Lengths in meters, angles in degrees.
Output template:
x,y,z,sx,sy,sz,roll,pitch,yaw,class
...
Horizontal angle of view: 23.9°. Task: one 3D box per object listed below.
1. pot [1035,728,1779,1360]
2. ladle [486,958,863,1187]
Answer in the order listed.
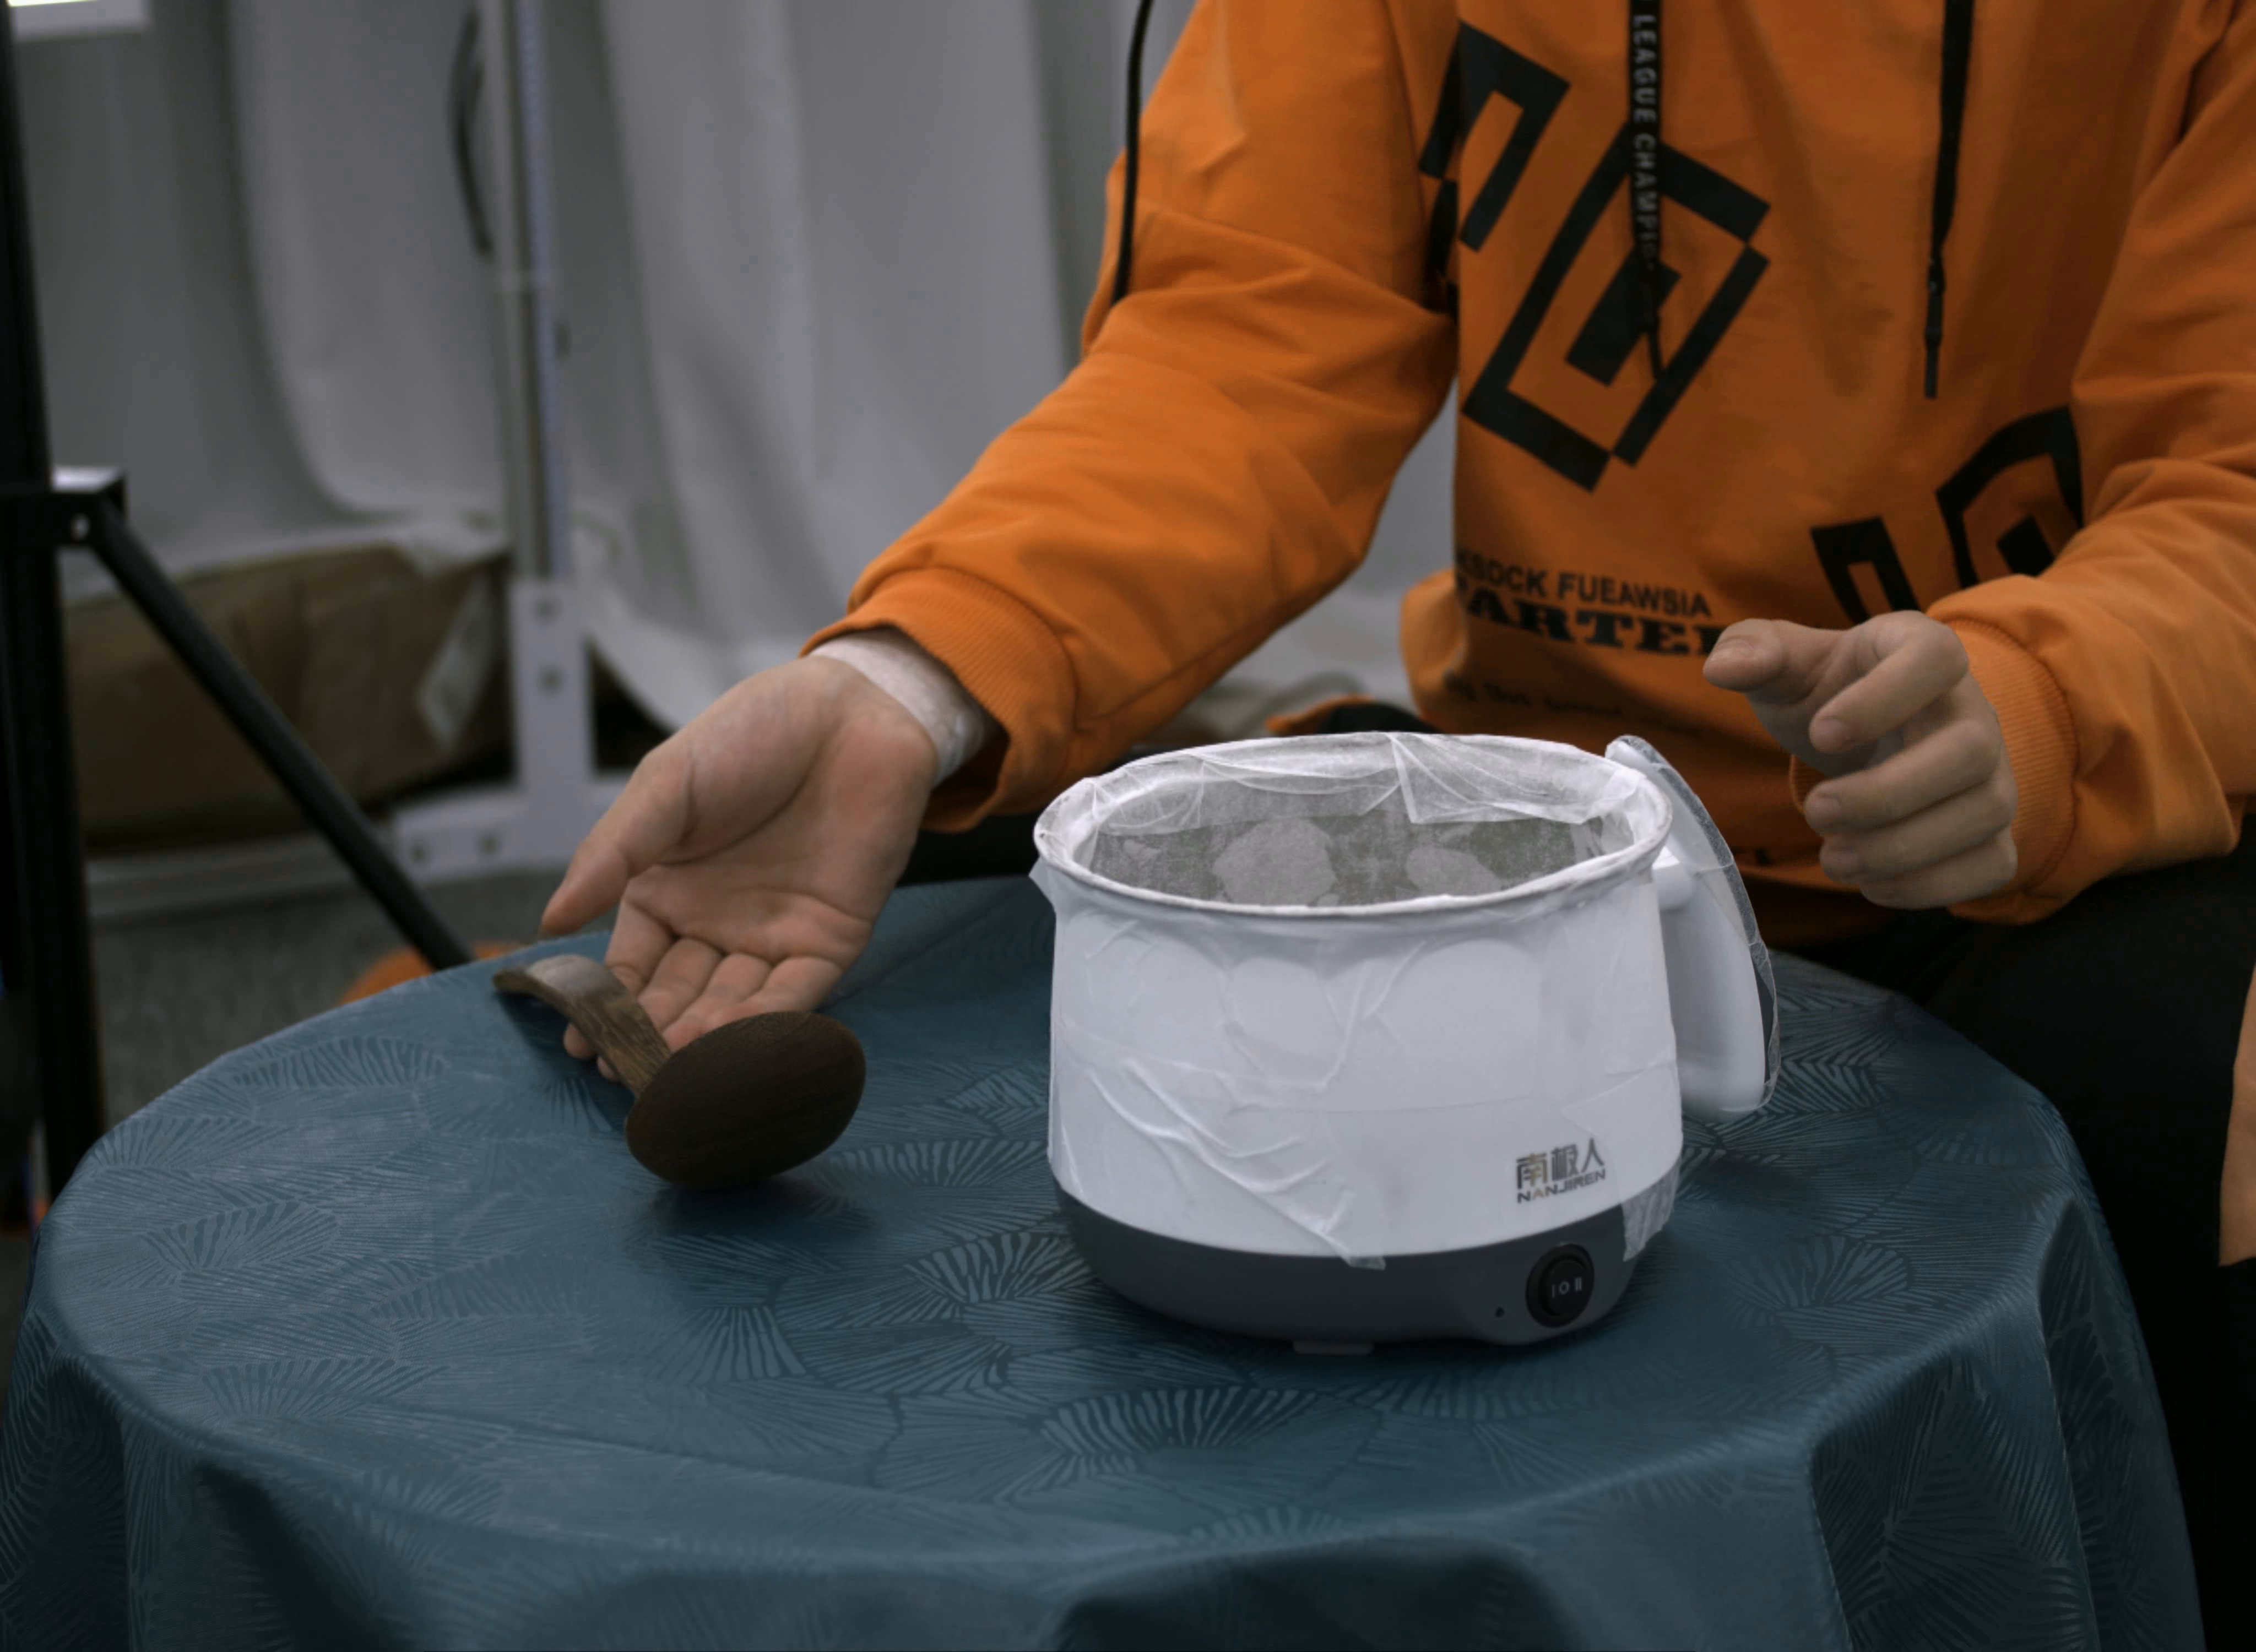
x,y,z,sx,sy,sz,roll,pitch,yaw,class
0.087,0.053,1.486,0.228,0.136,0.183,-13,19,-33,pot
-0.153,0.052,1.652,0.074,0.071,0.279,-7,17,-20,ladle
